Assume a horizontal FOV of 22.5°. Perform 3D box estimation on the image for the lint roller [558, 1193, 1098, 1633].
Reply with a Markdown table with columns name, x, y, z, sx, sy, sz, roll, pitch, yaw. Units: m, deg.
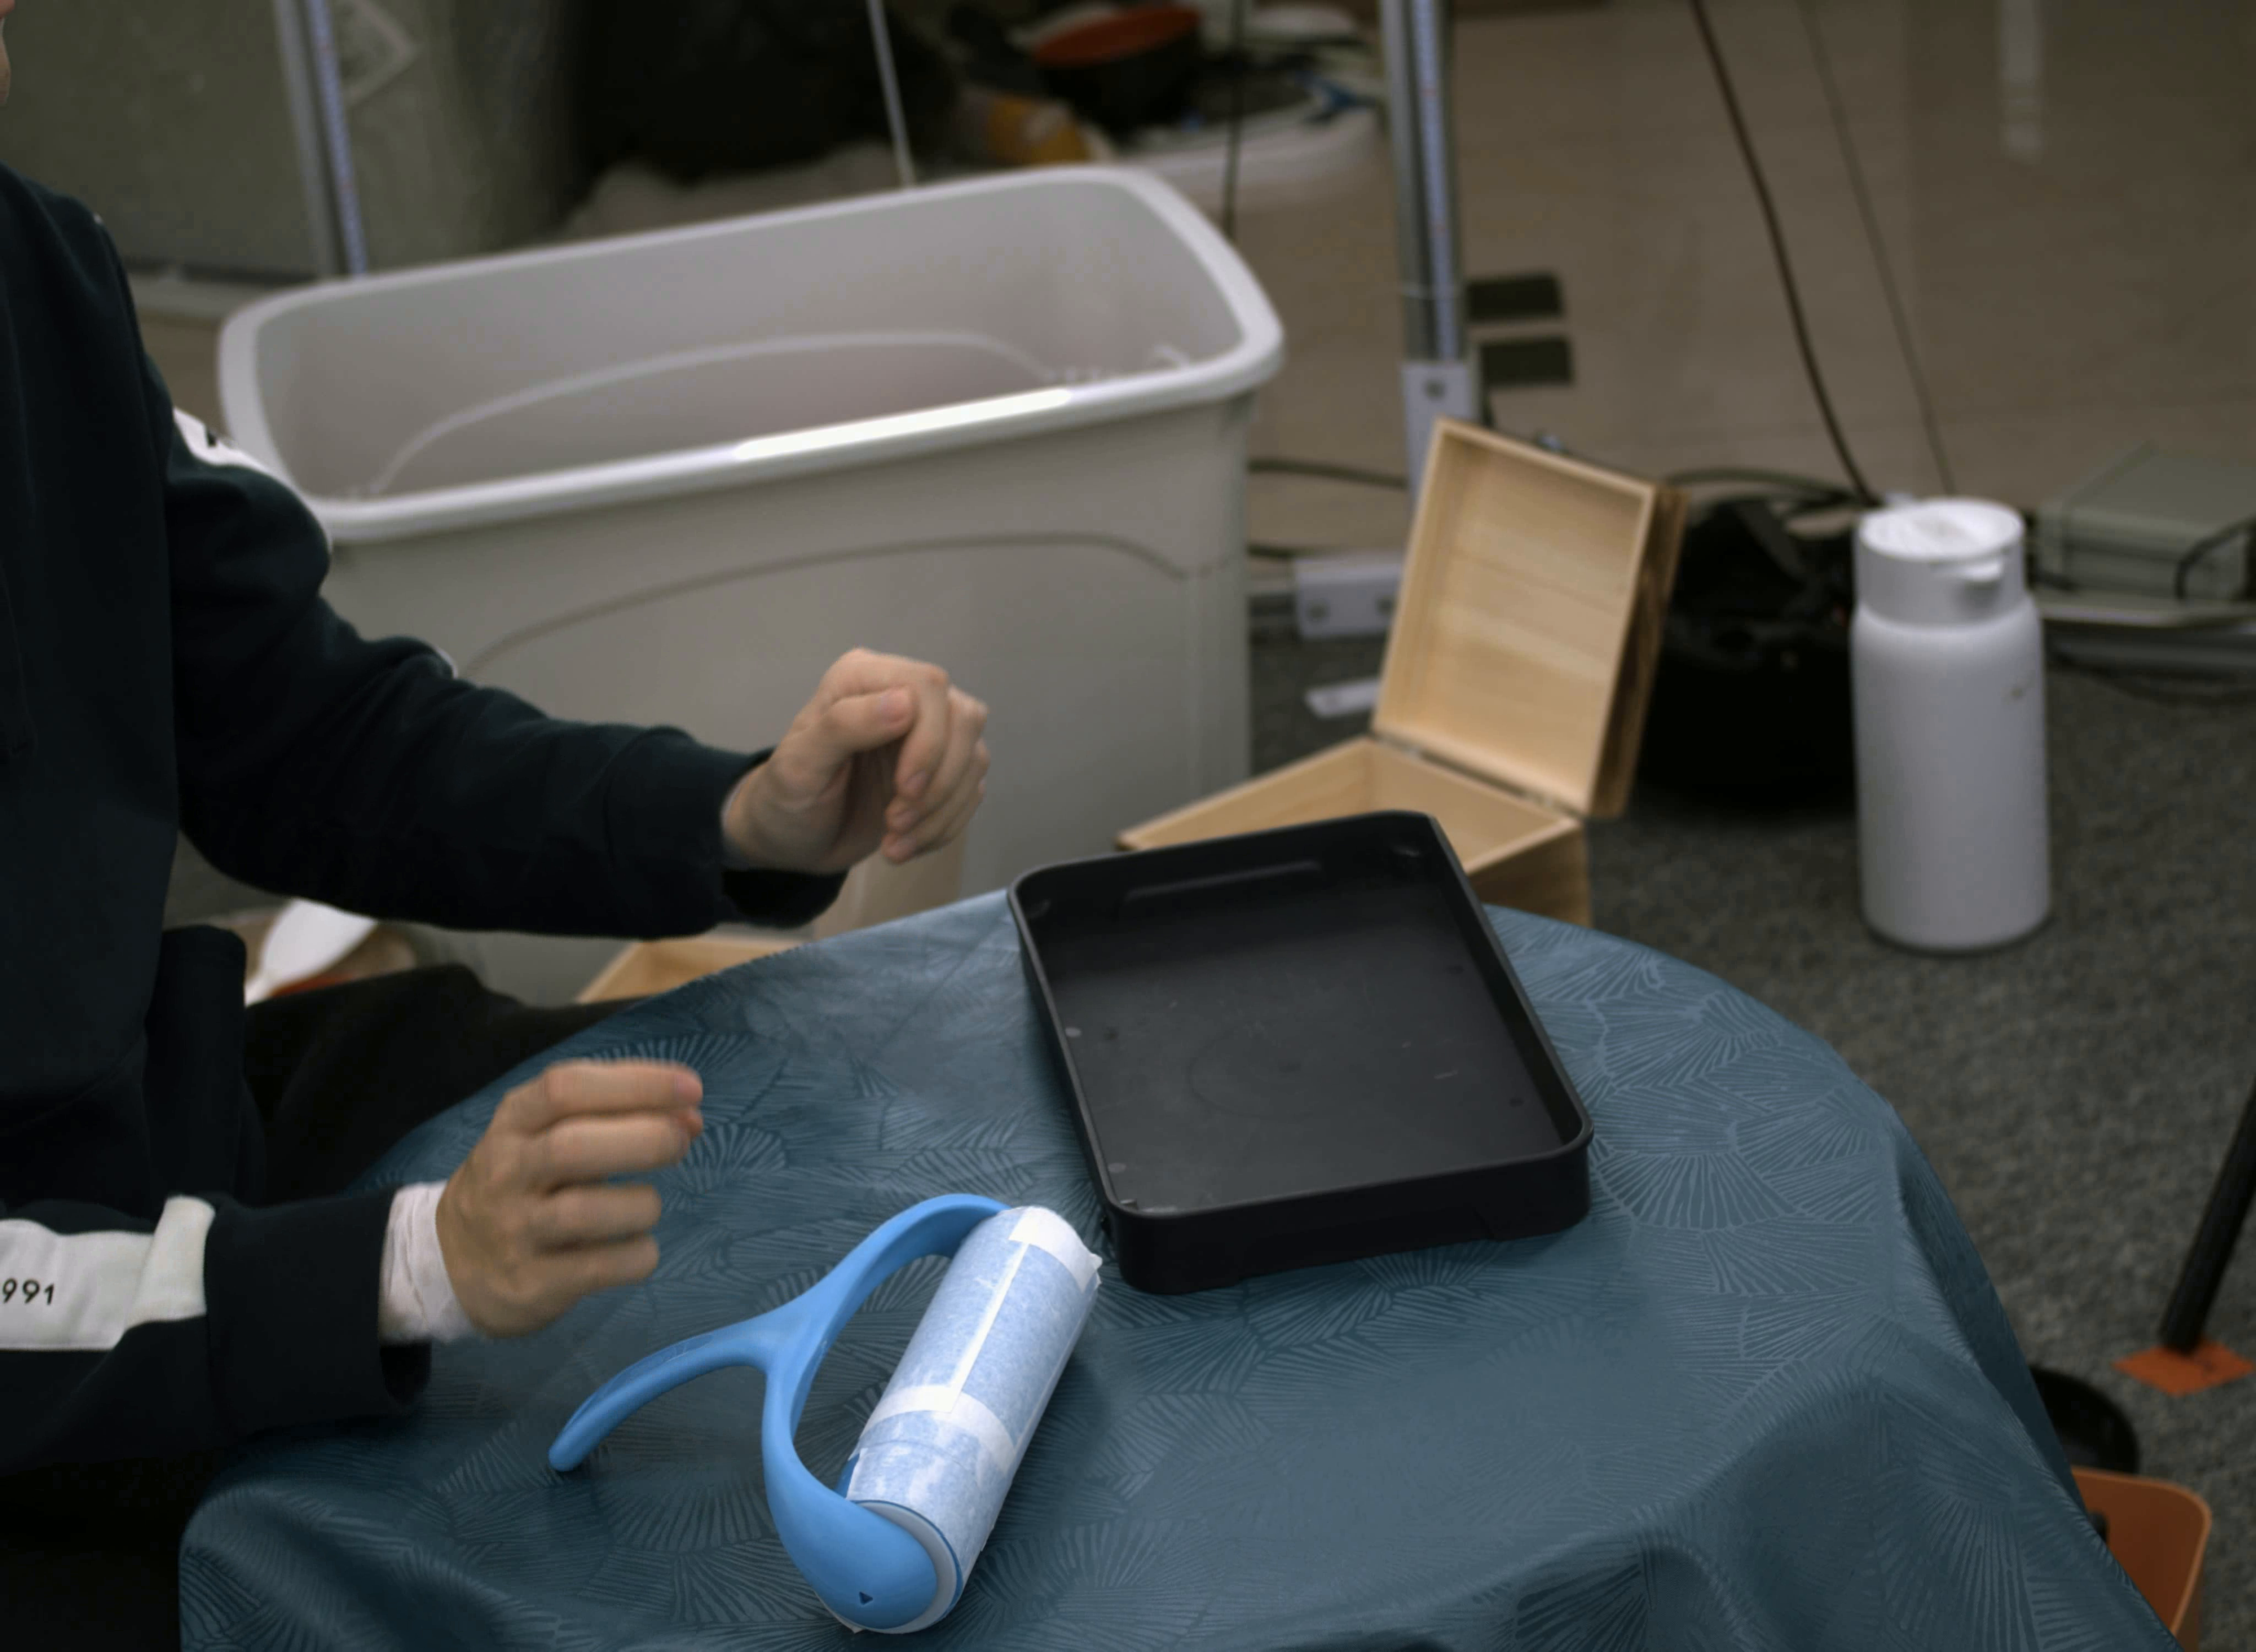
| name | x | y | z | sx | sy | sz | roll | pitch | yaw |
| --- | --- | --- | --- | --- | --- | --- | --- | --- | --- |
| lint roller | -0.116 | 0.202 | 1.970 | 0.180 | 0.069 | 0.225 | 0 | 28 | 12 |

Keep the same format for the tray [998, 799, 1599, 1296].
| name | x | y | z | sx | sy | sz | roll | pitch | yaw |
| --- | --- | --- | --- | --- | --- | --- | --- | --- | --- |
| tray | 0.062 | 0.081 | 2.212 | 0.184 | 0.037 | 0.313 | -10 | 26 | -6 |
